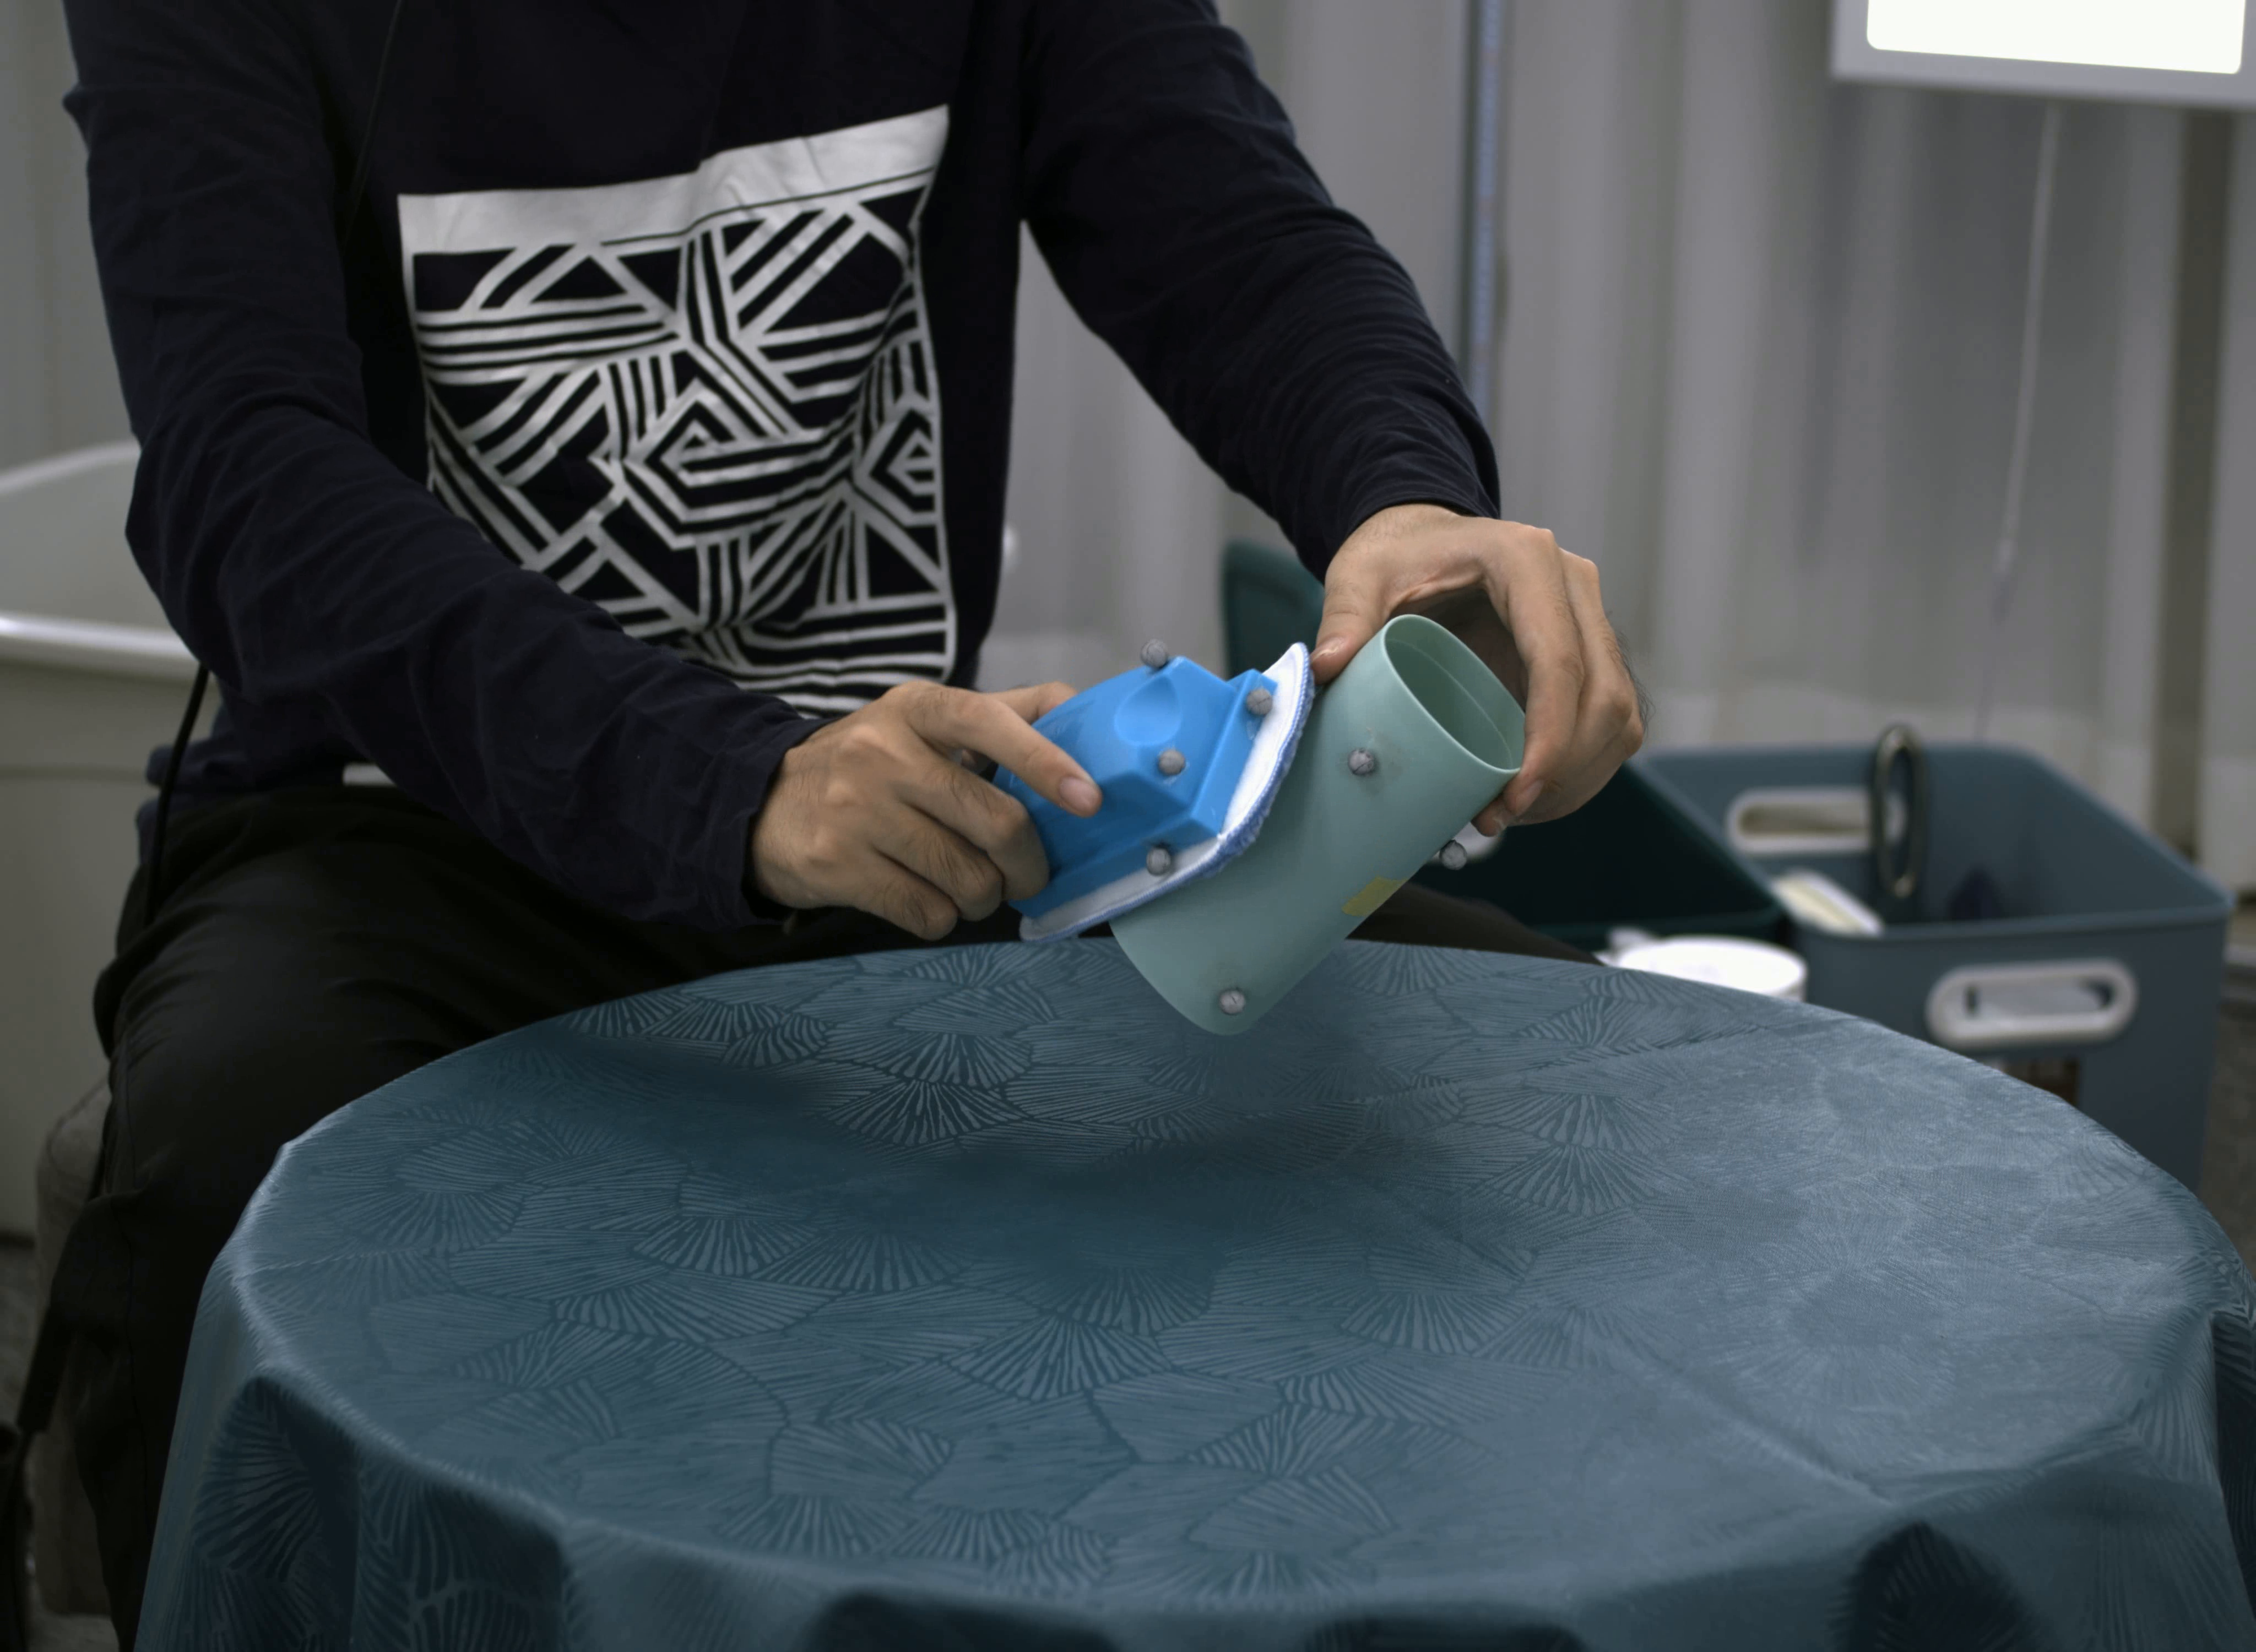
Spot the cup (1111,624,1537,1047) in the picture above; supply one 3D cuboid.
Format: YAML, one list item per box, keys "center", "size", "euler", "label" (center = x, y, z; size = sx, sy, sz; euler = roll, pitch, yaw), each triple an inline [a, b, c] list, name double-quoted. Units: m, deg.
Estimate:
- center: [0.059, 0.003, 1.633]
  size: [0.067, 0.132, 0.066]
  euler: [33, 29, -20]
  label: "cup"

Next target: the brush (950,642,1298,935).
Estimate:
- center: [-0.009, -0.017, 1.632]
  size: [0.056, 0.083, 0.143]
  euler: [38, -28, -19]
  label: "brush"
